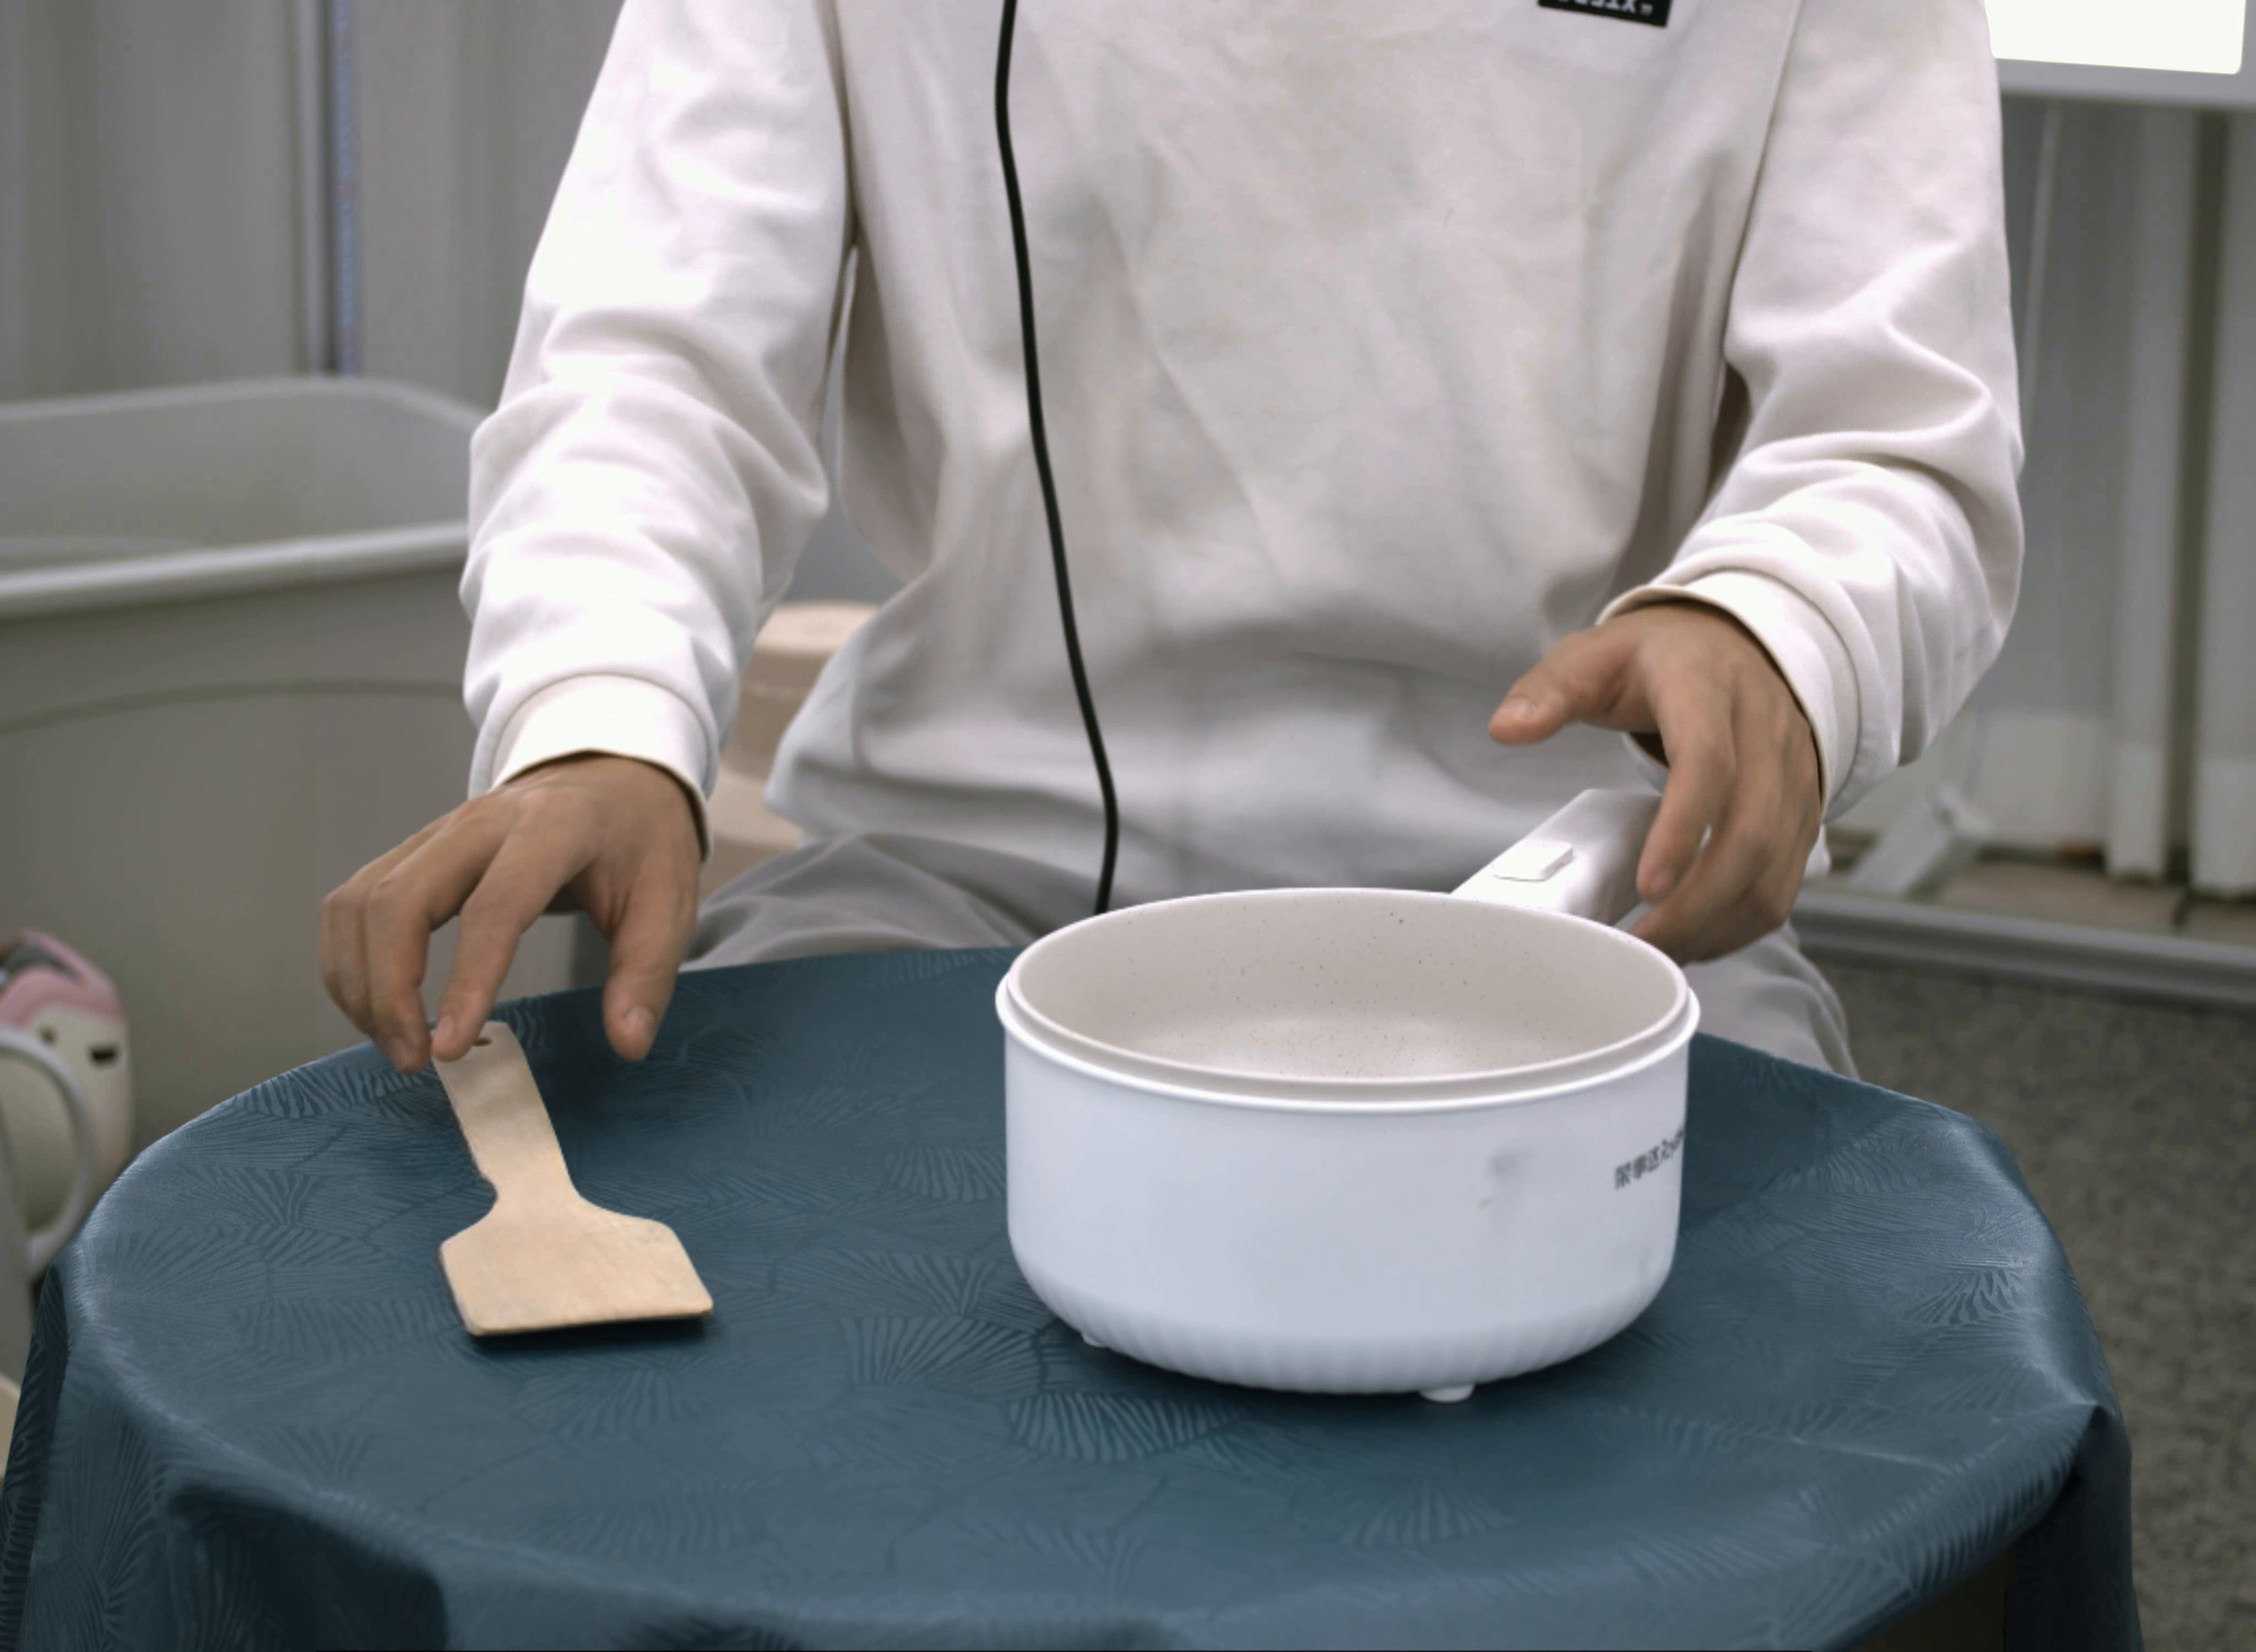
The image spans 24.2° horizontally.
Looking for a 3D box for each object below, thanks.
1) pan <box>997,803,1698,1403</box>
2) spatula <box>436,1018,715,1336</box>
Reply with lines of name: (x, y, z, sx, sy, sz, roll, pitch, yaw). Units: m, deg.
pan: (0.093, 0.077, 1.585, 0.199, 0.103, 0.355, 6, 15, 22)
spatula: (-0.186, 0.105, 1.629, 0.072, 0.011, 0.290, -5, 16, -13)
